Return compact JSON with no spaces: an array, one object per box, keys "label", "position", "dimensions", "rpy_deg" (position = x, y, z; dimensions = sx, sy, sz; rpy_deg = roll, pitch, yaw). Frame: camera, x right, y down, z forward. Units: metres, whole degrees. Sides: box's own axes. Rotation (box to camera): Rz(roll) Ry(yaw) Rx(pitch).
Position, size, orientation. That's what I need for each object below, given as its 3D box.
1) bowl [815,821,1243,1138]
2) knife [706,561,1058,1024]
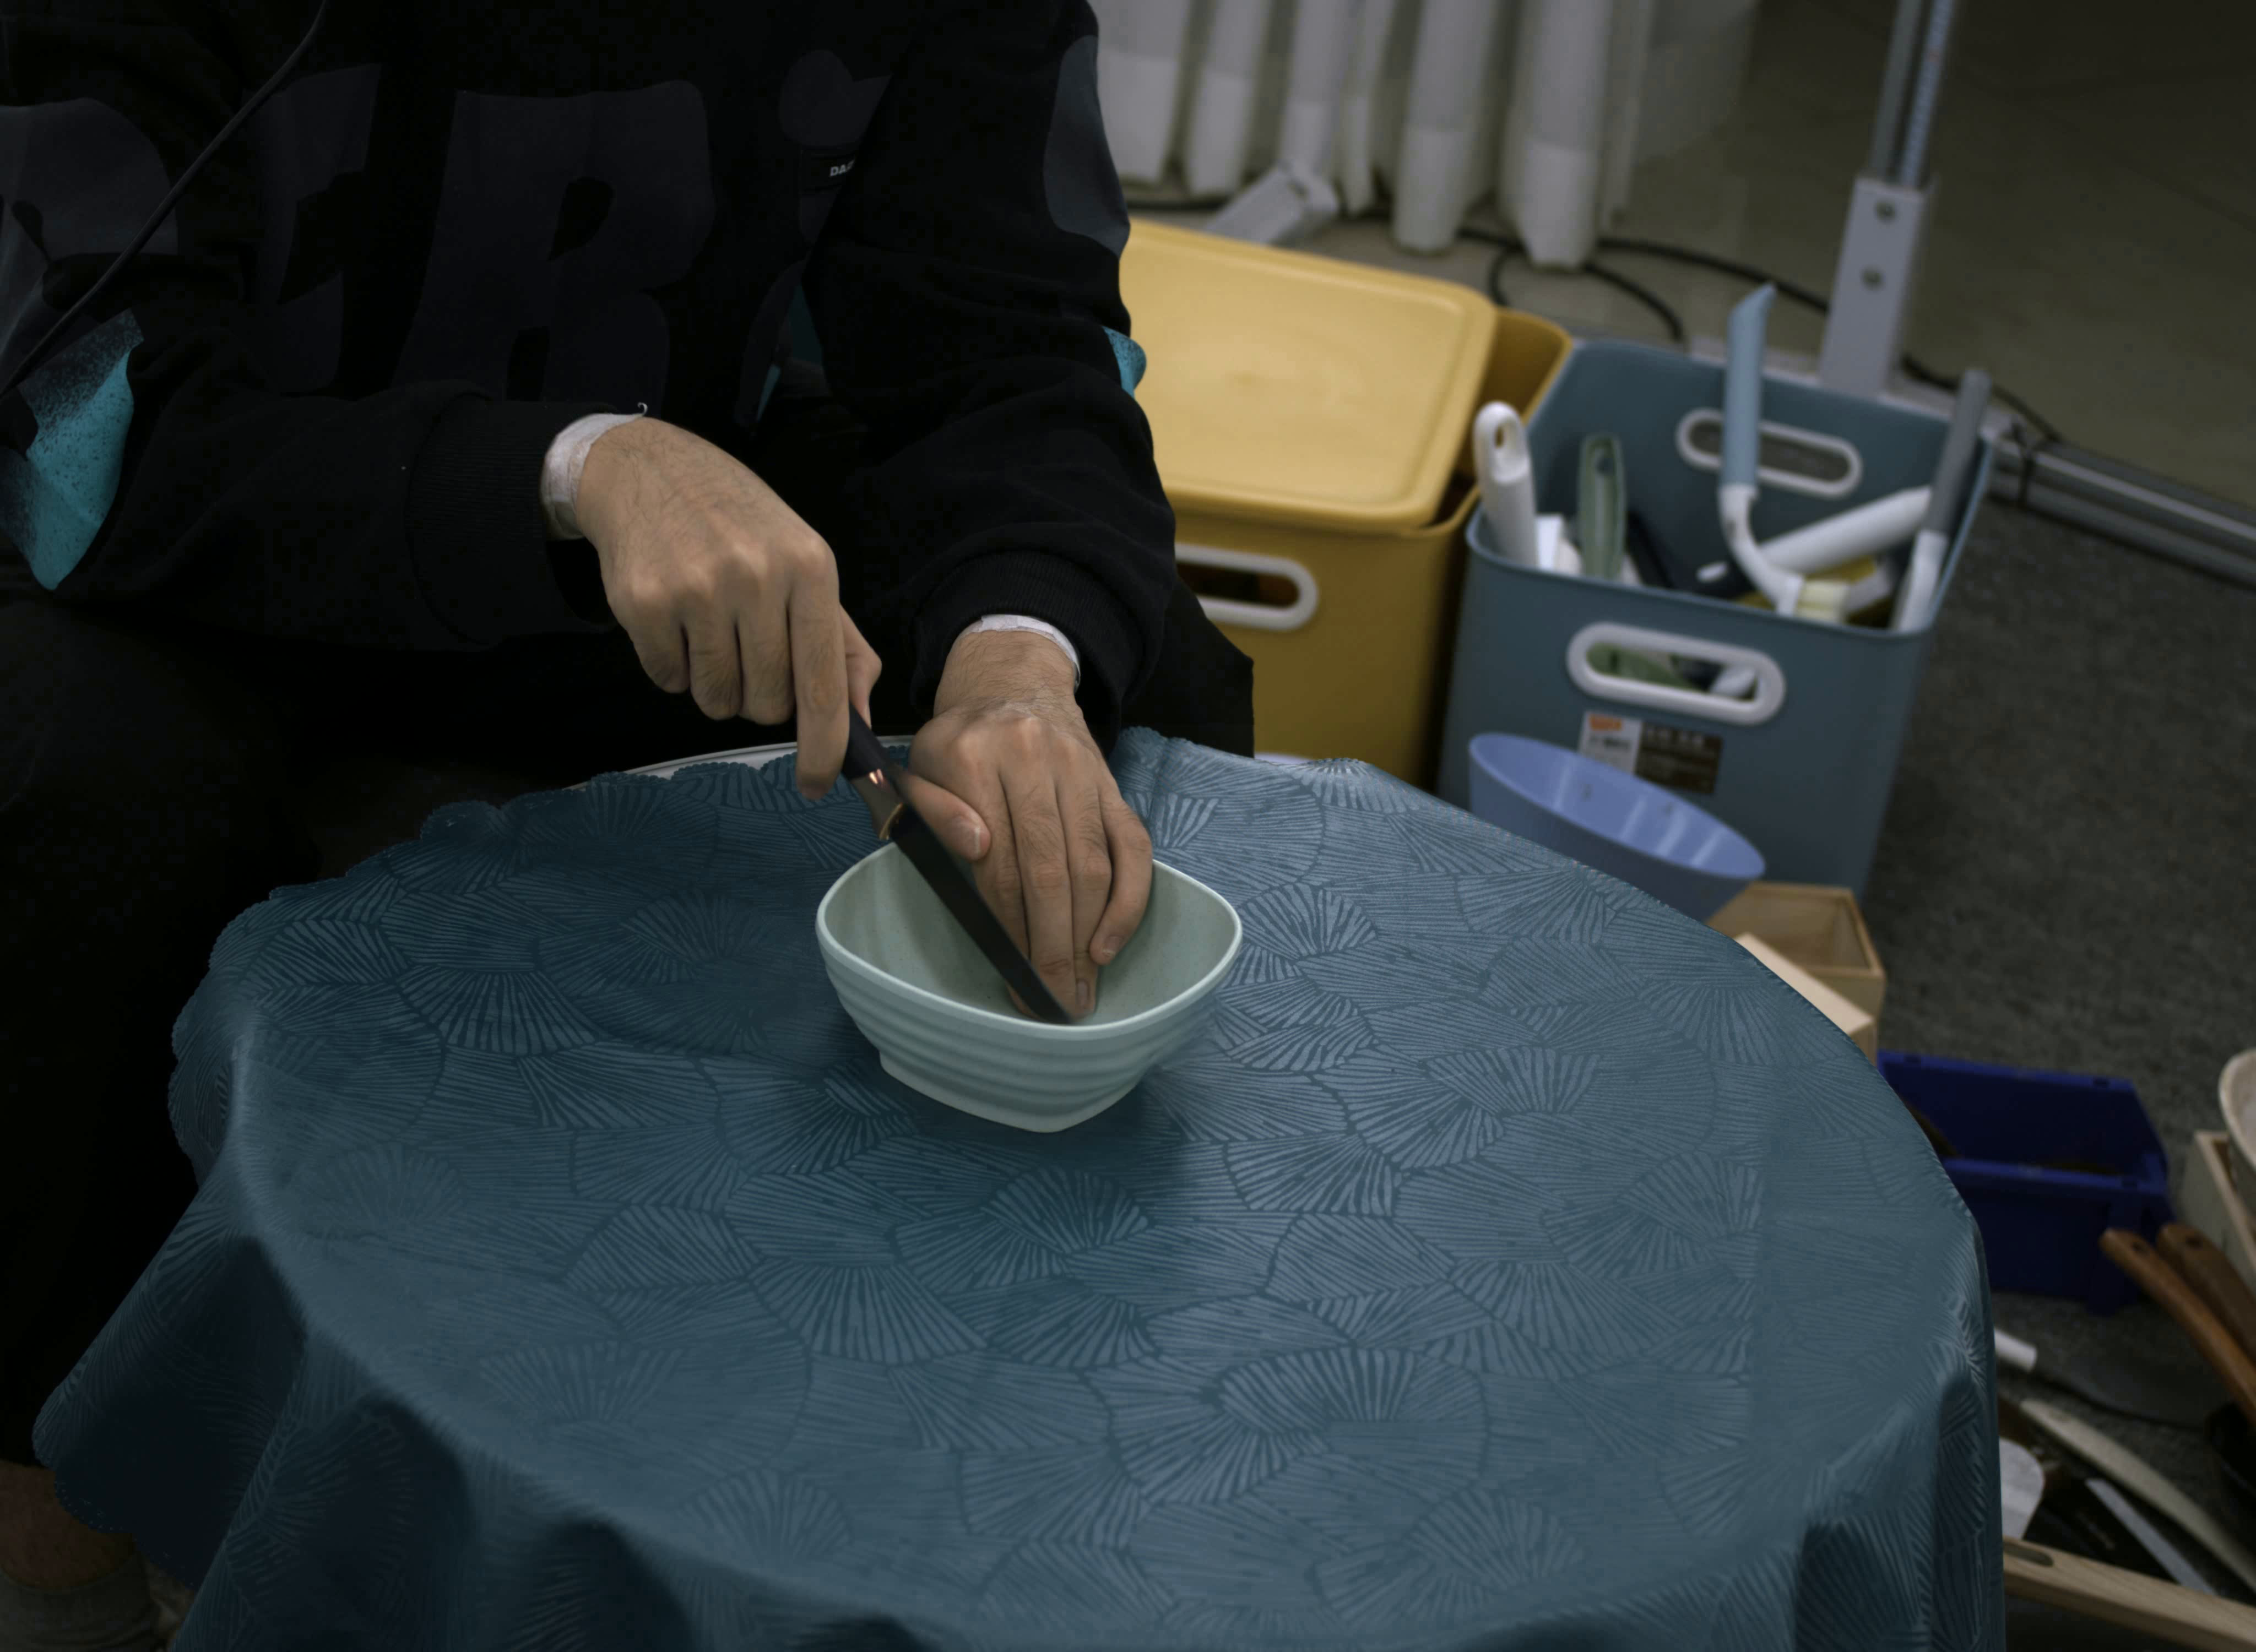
[{"label":"bowl","position":[-0.036,0.059,1.861],"dimensions":[0.151,0.058,0.152],"rpy_deg":[4,28,-3]},{"label":"knife","position":[-0.079,-0.001,1.863],"dimensions":[0.017,0.026,0.226],"rpy_deg":[-28,76,-40]}]
